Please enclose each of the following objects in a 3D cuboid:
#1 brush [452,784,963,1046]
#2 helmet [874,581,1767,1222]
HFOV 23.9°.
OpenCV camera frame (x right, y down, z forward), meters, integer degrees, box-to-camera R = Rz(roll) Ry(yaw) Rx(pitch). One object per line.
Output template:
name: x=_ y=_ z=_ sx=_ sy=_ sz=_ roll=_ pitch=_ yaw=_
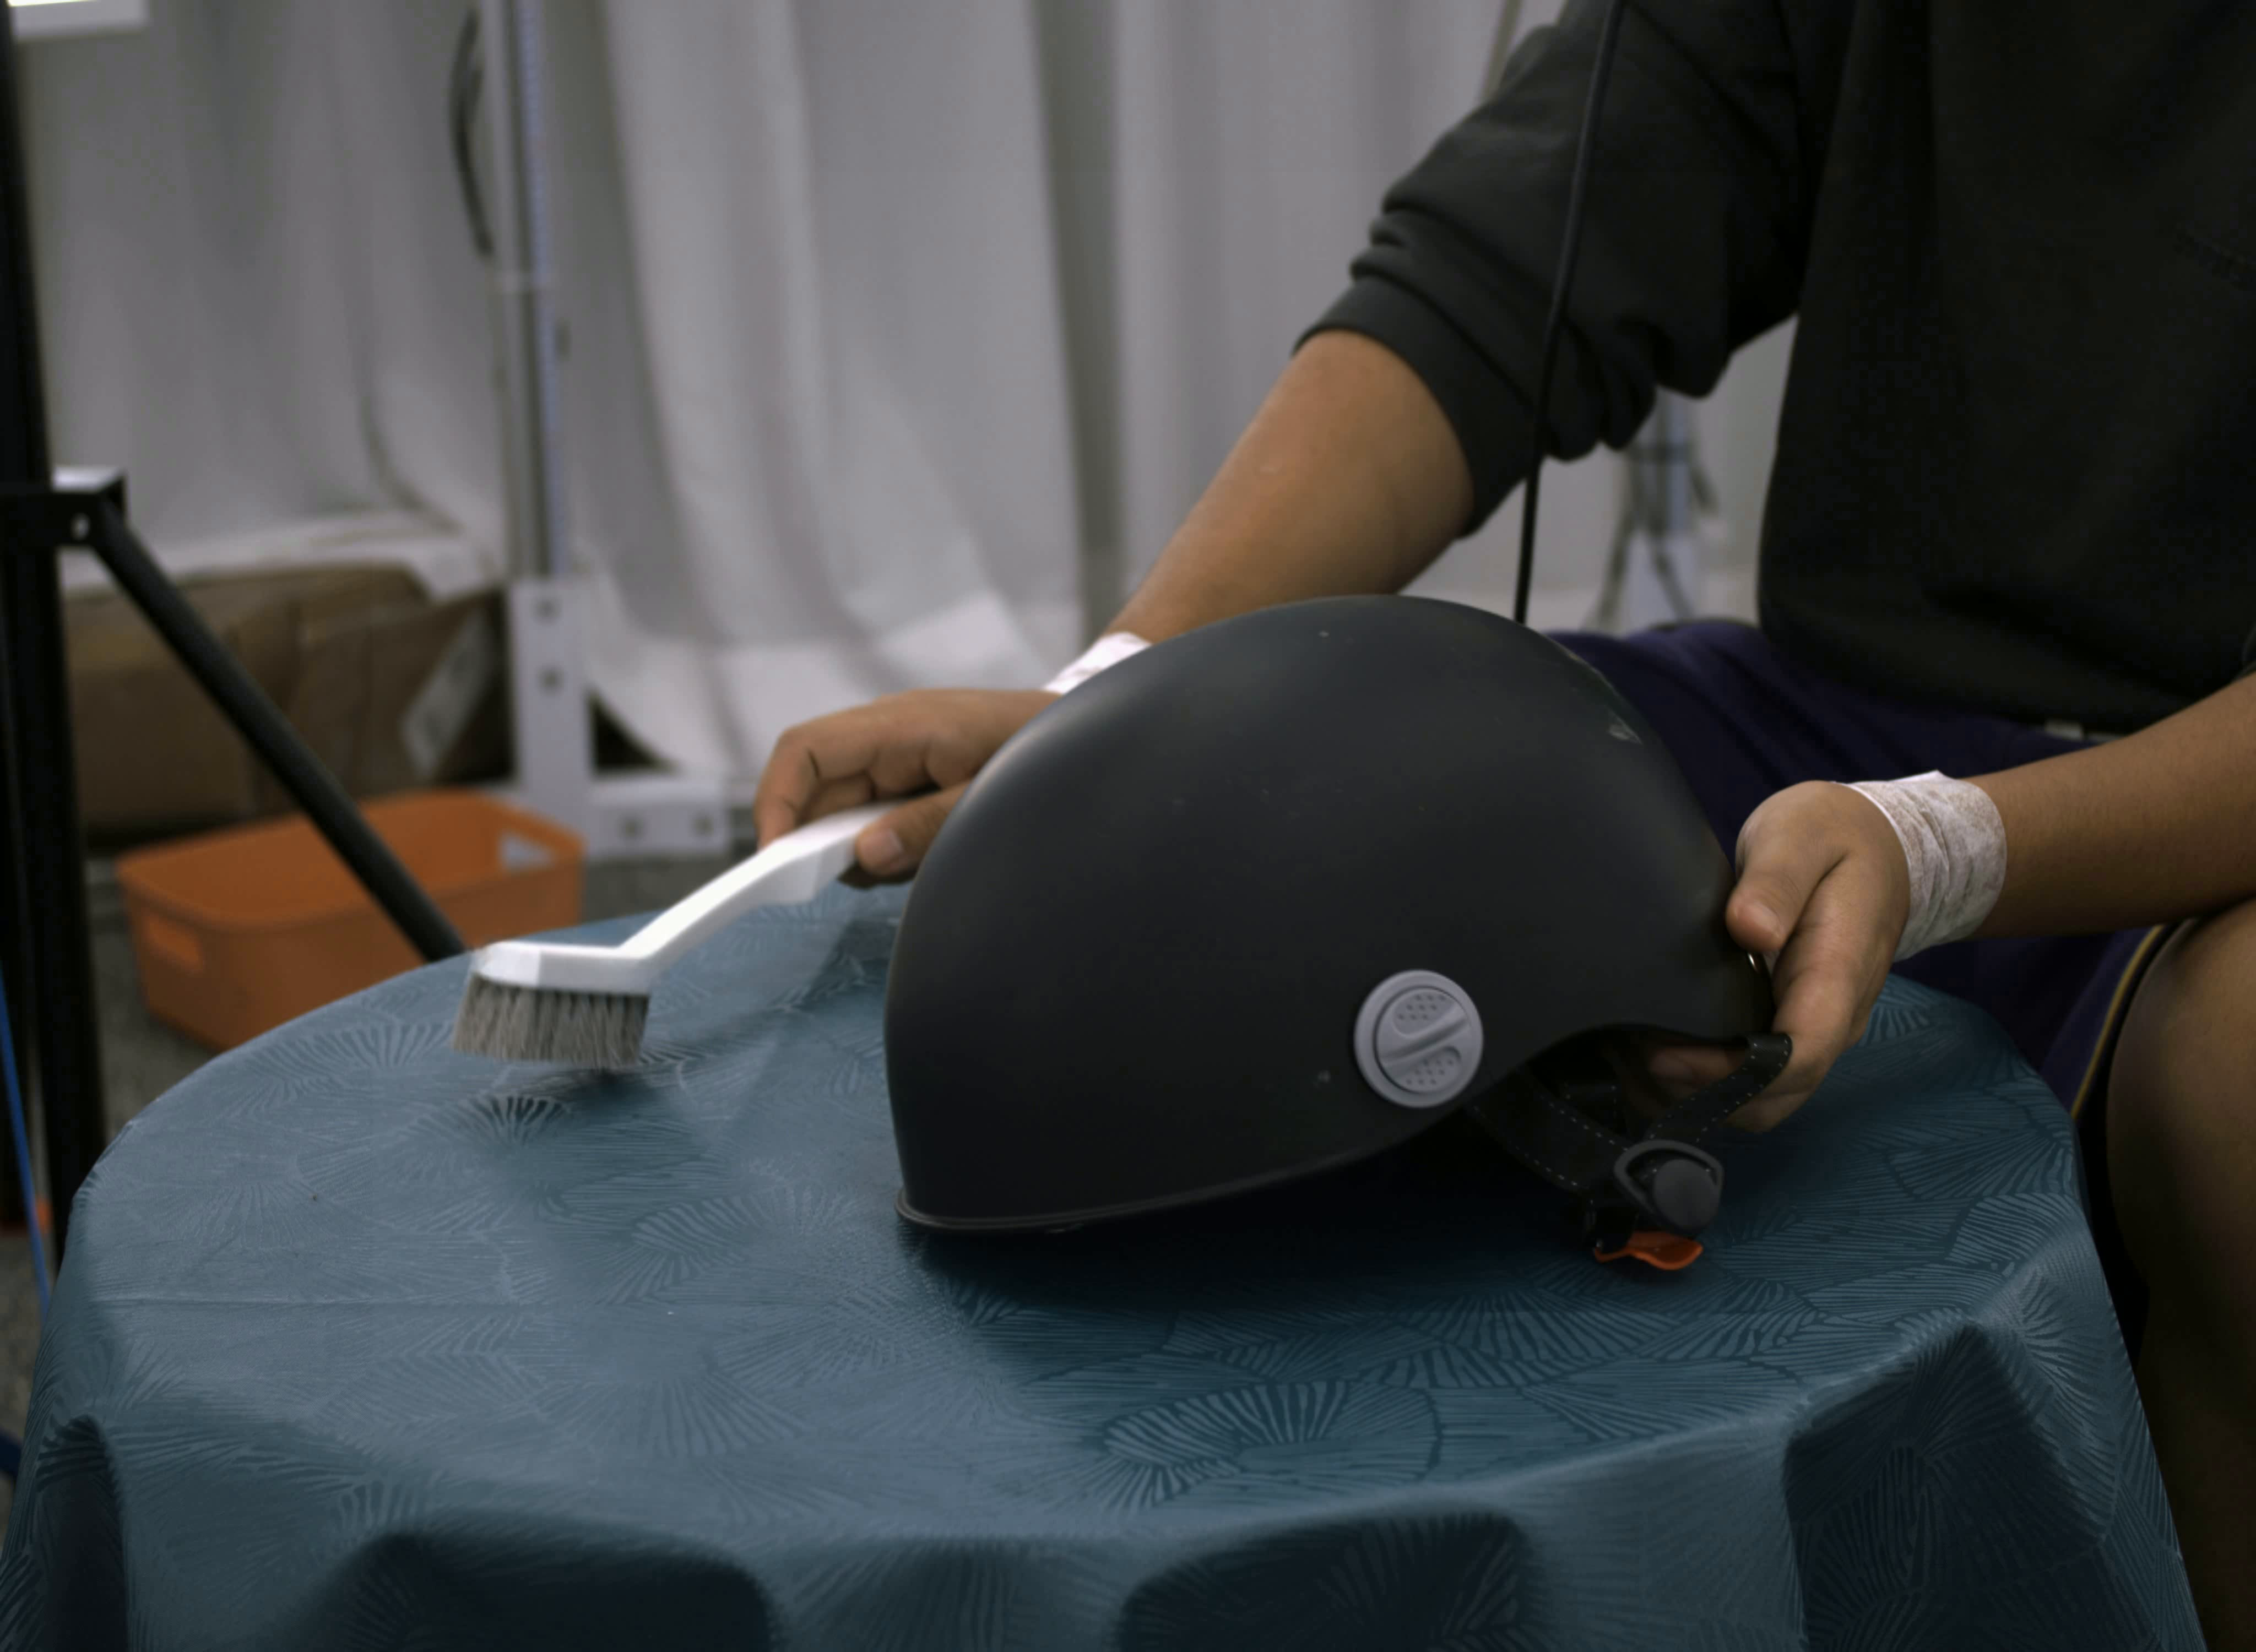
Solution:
brush: x=-0.129 y=0.032 z=1.739 sx=0.035 sy=0.050 sz=0.238 roll=5 pitch=15 yaw=37
helmet: x=0.047 y=0.017 z=1.552 sx=0.267 sy=0.167 sz=0.234 roll=-12 pitch=4 yaw=-27
